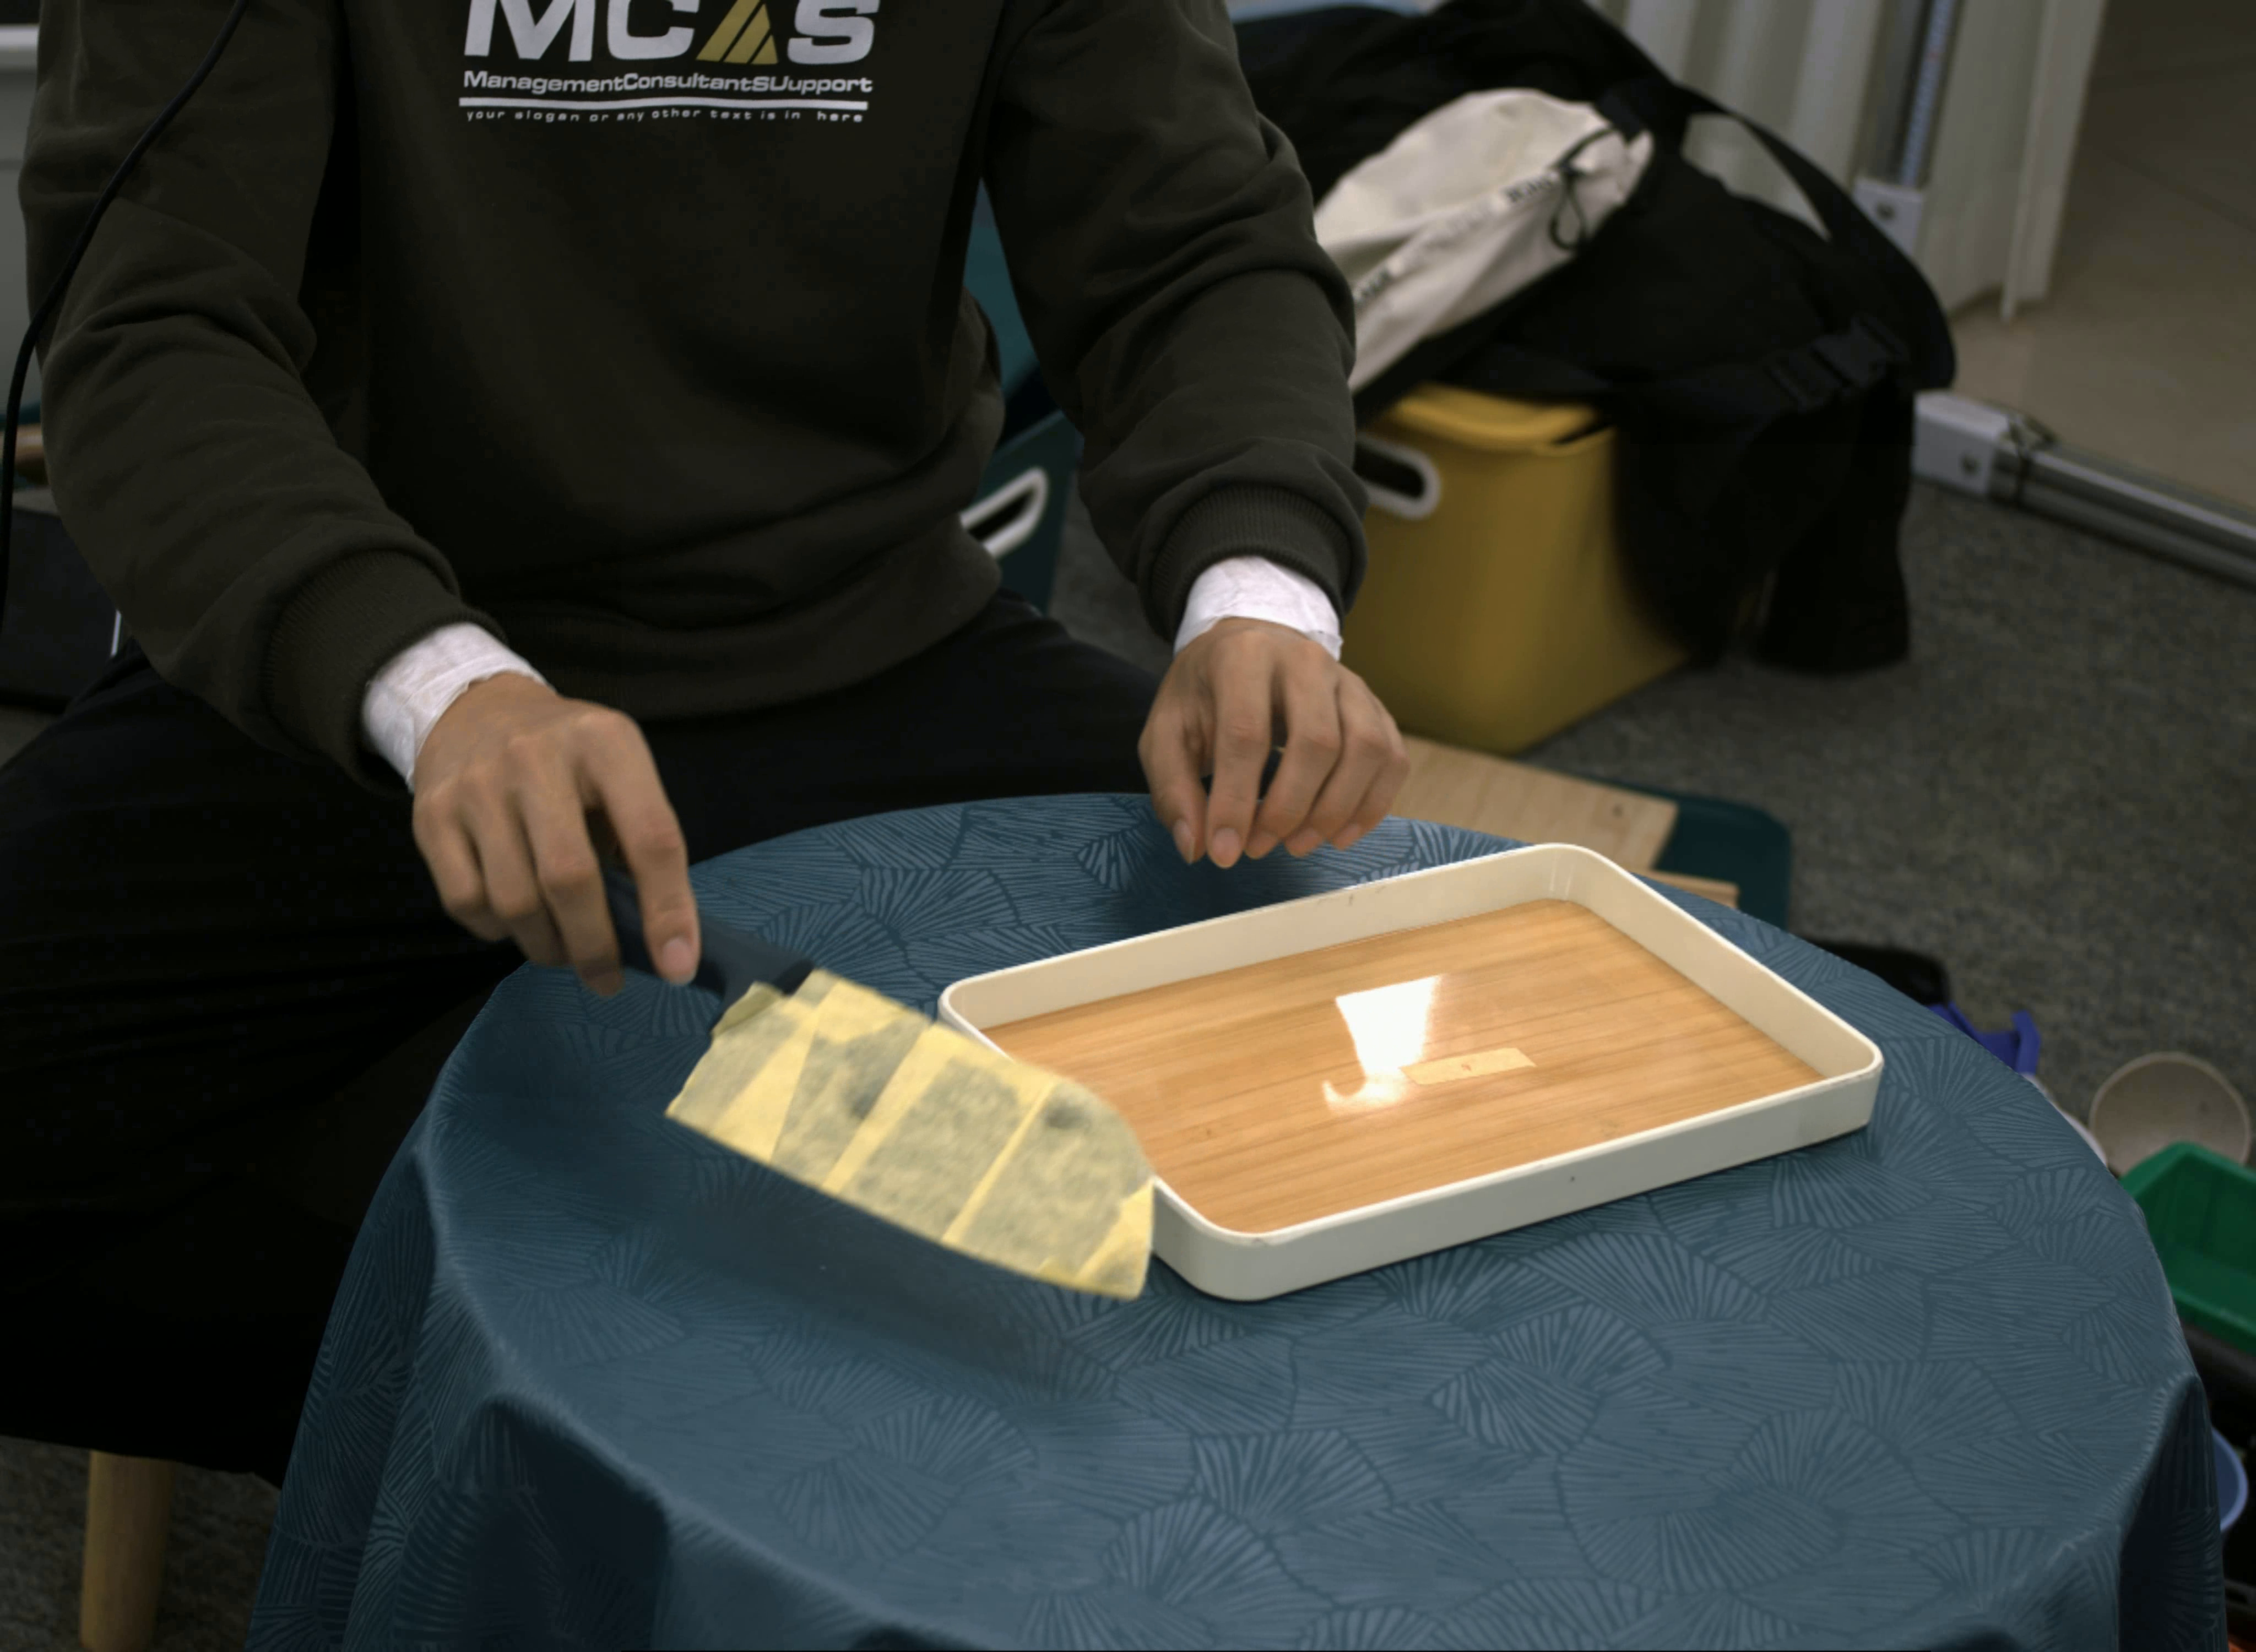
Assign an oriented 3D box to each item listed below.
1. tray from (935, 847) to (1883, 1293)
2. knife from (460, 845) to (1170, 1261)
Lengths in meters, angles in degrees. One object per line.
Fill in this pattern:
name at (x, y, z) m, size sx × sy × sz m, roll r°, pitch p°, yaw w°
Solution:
tray at (0.099, 0.082, 1.882) m, size 0.298 × 0.027 × 0.193 m, roll -12°, pitch 31°, yaw -33°
knife at (-0.109, 0.073, 1.742) m, size 0.291 × 0.027 × 0.081 m, roll 24°, pitch 57°, yaw 24°
